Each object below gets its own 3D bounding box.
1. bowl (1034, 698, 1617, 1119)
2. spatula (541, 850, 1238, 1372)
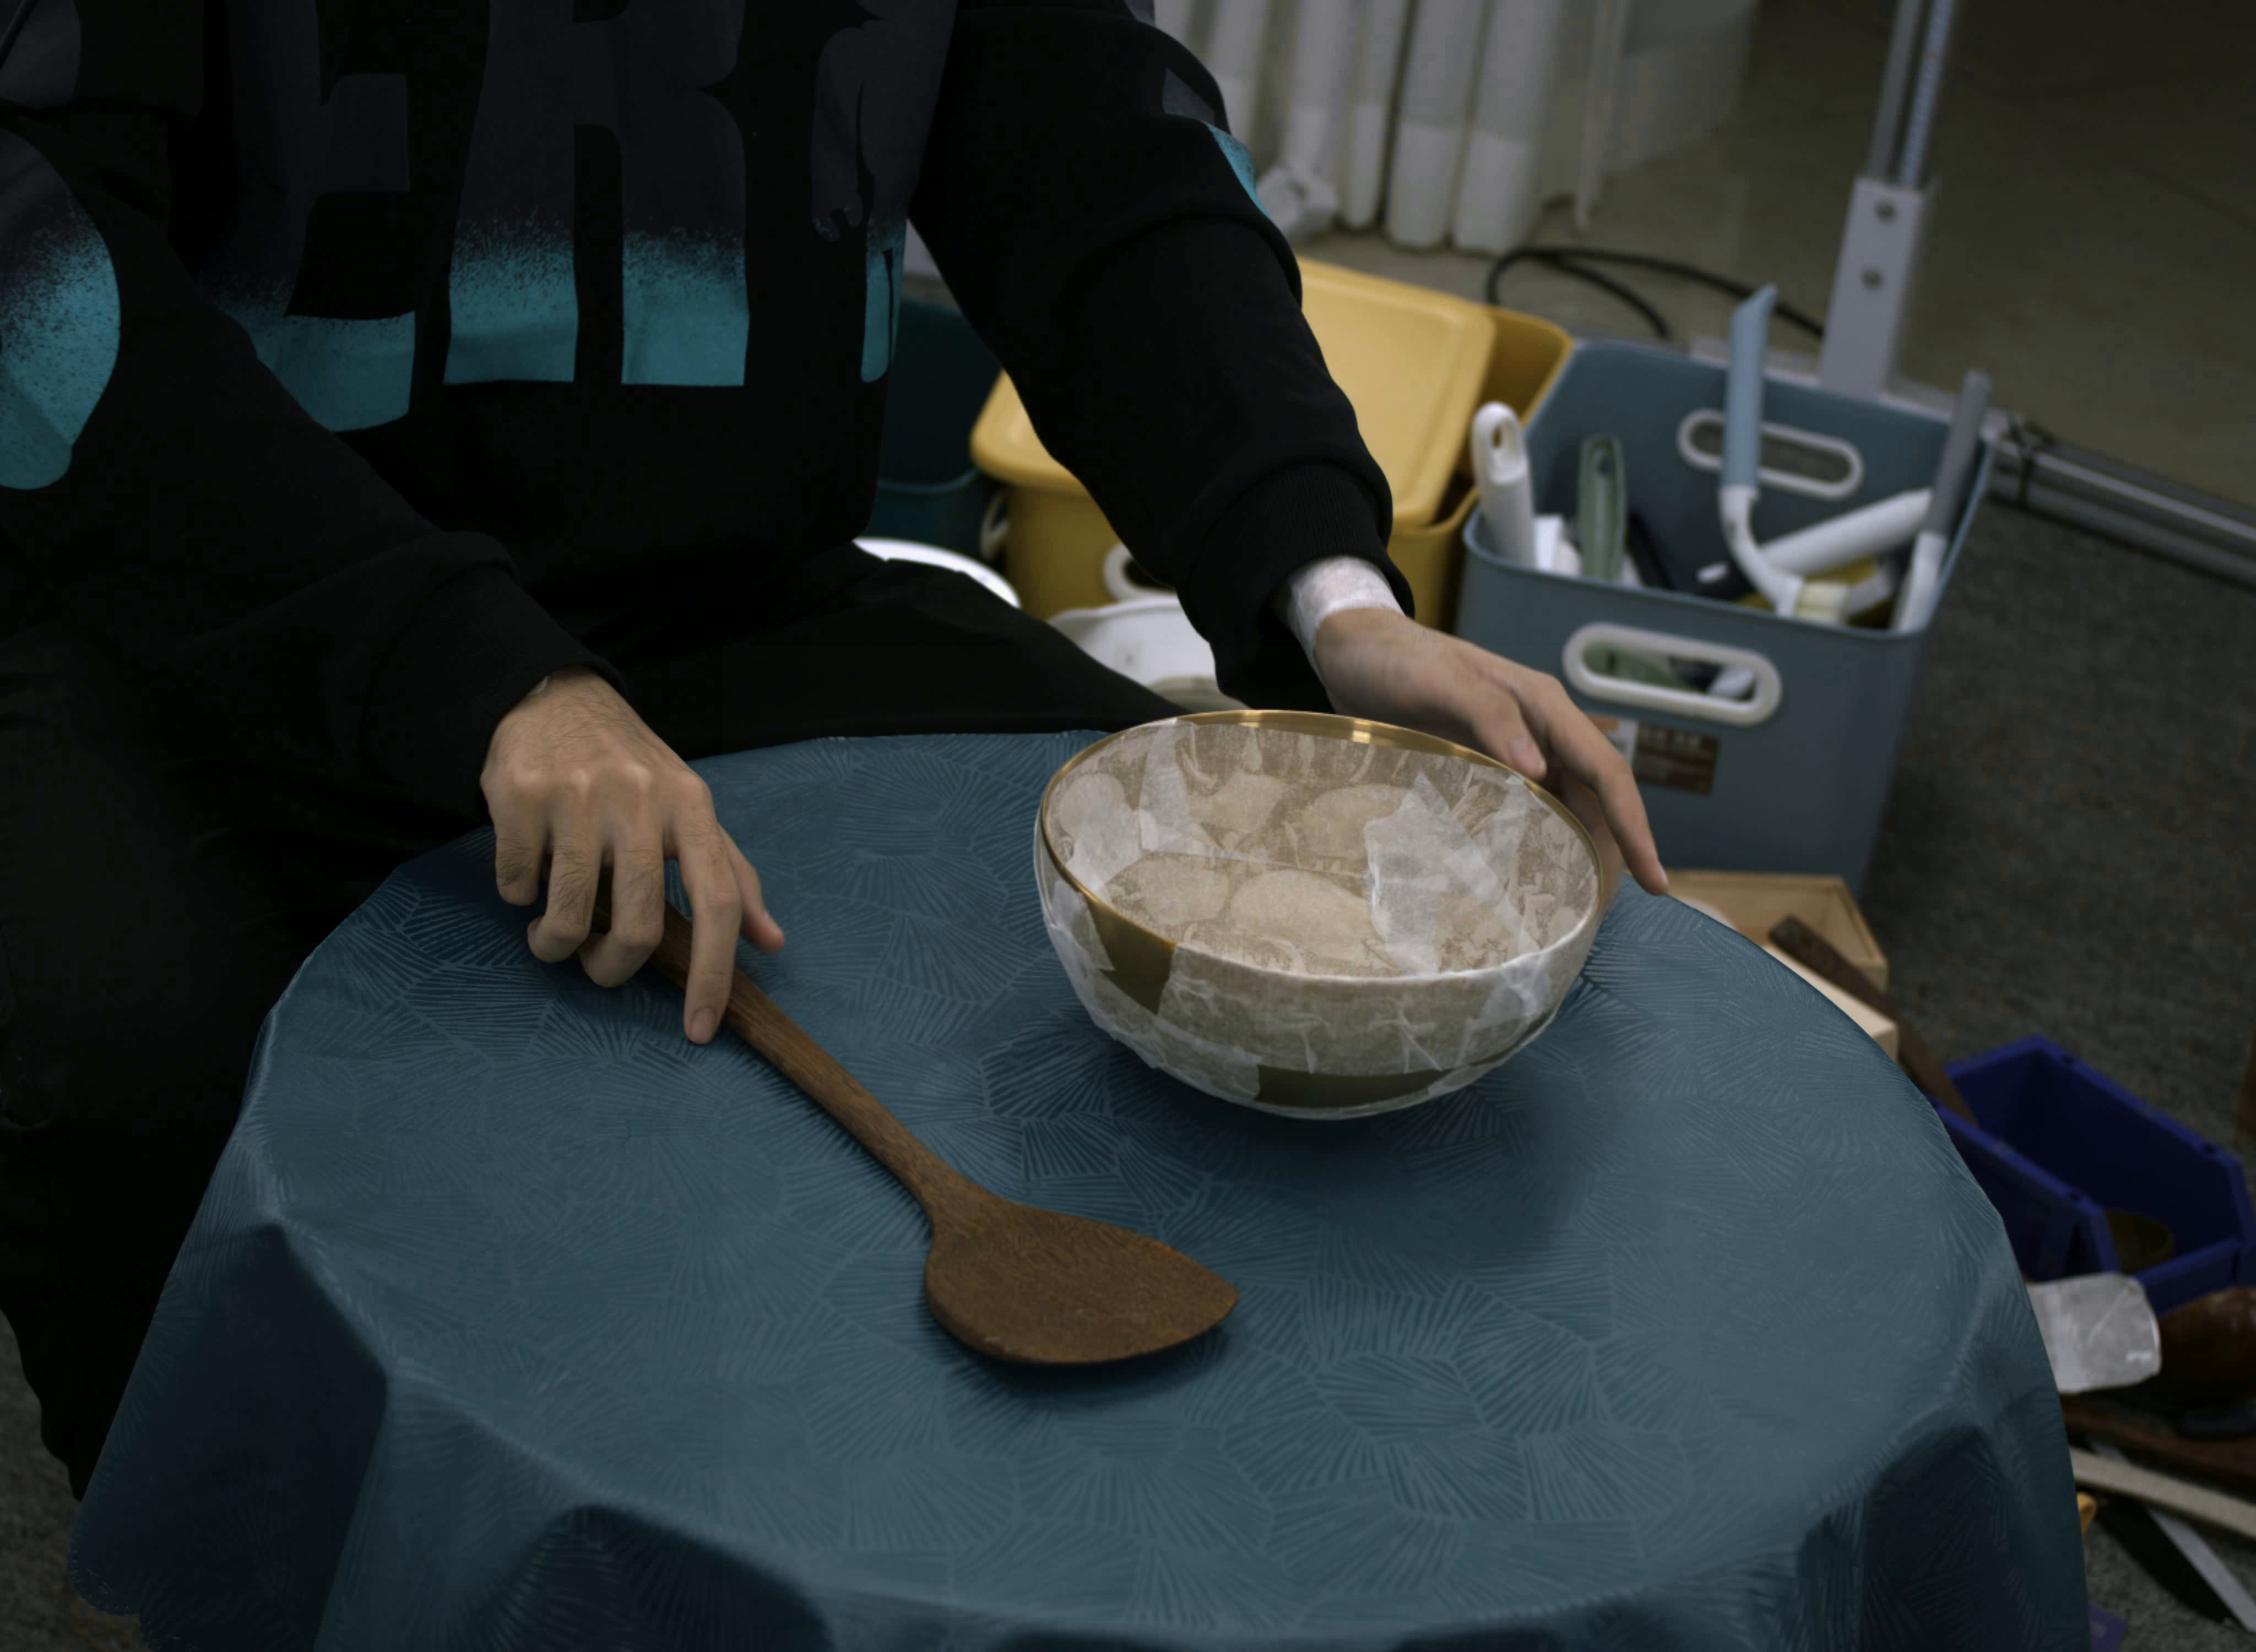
[{"bbox_3d":[0.065,0.041,1.873,0.214,0.094,0.216,4,27,-2],"label":"bowl"},{"bbox_3d":[-0.102,0.090,1.829,0.095,0.016,0.389,-12,32,-33],"label":"spatula"}]
